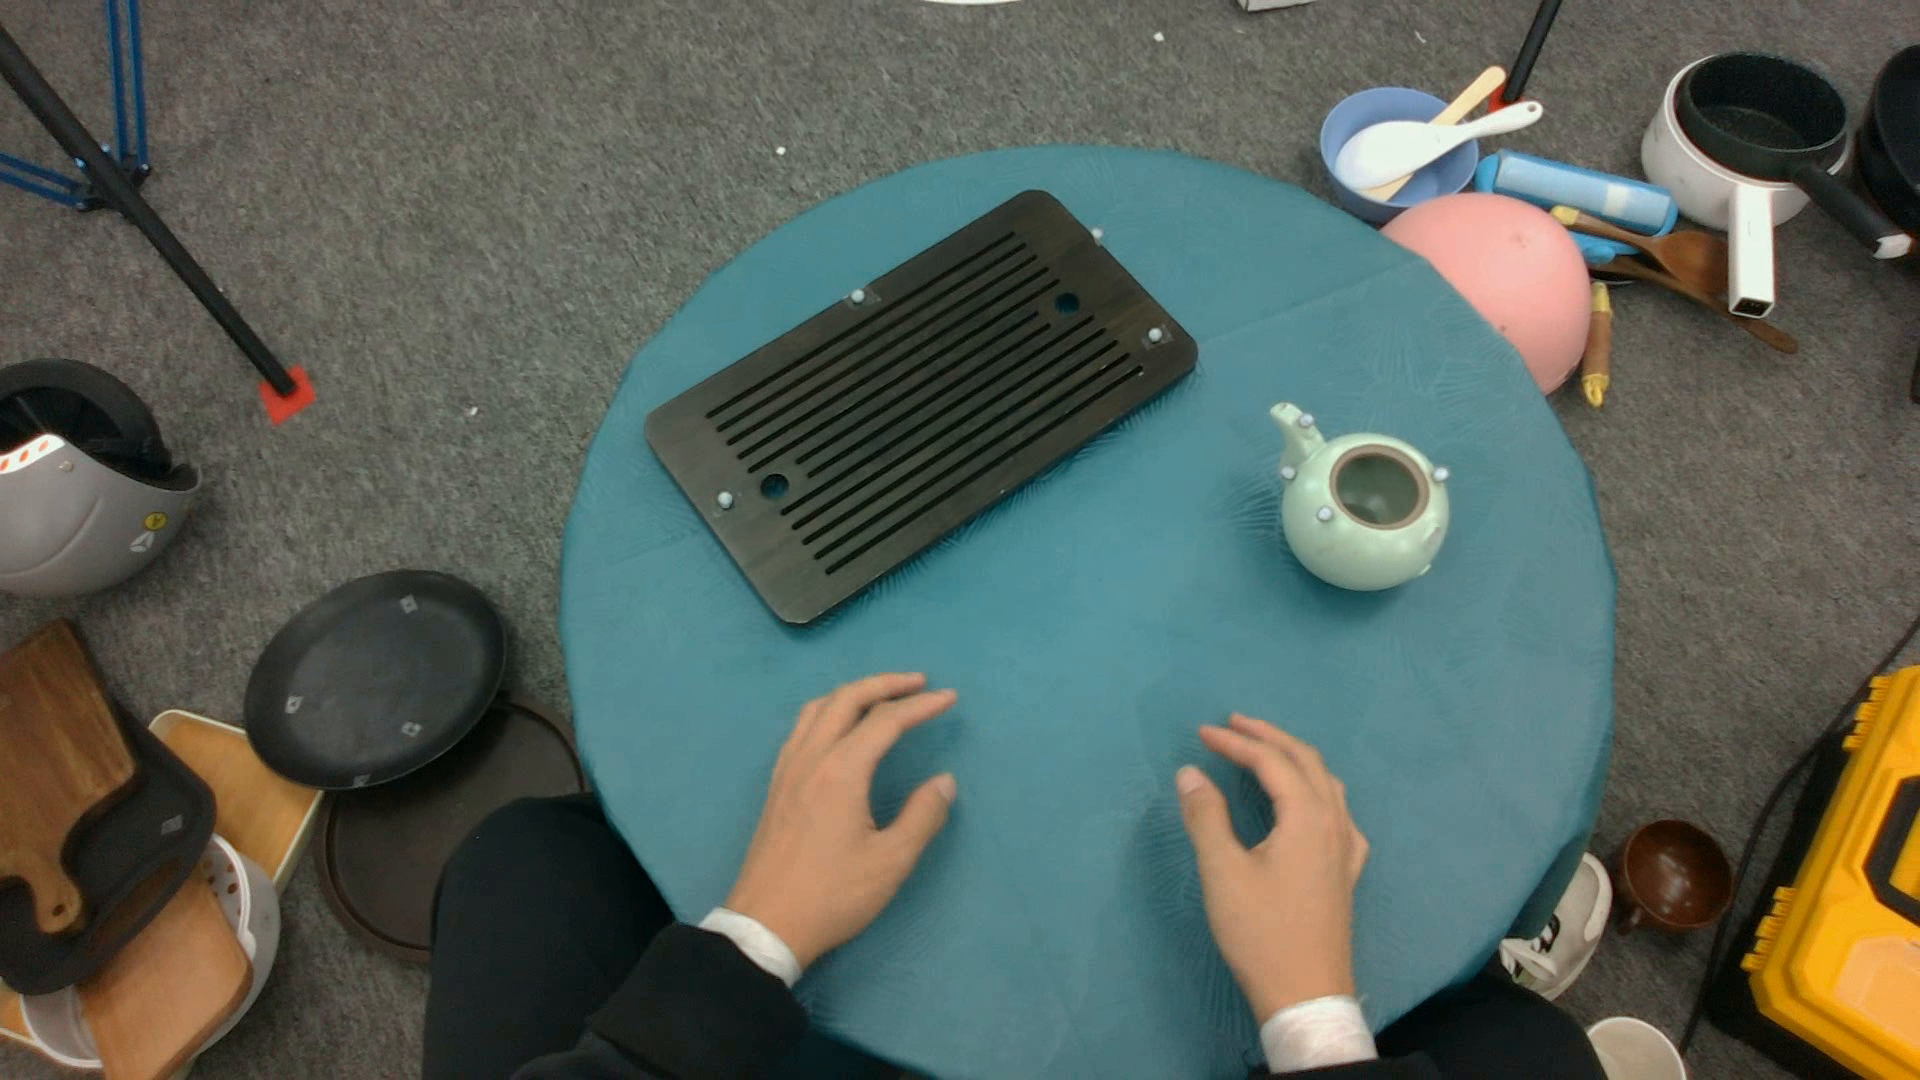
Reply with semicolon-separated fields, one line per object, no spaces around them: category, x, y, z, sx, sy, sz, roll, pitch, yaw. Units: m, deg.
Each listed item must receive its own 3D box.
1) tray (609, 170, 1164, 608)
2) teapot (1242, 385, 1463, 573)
tray;-0.041;-0.099;0.828;0.307;0.018;0.170;-34;69;-16
teapot;0.209;-0.026;0.765;0.144;0.074;0.088;41;70;19
